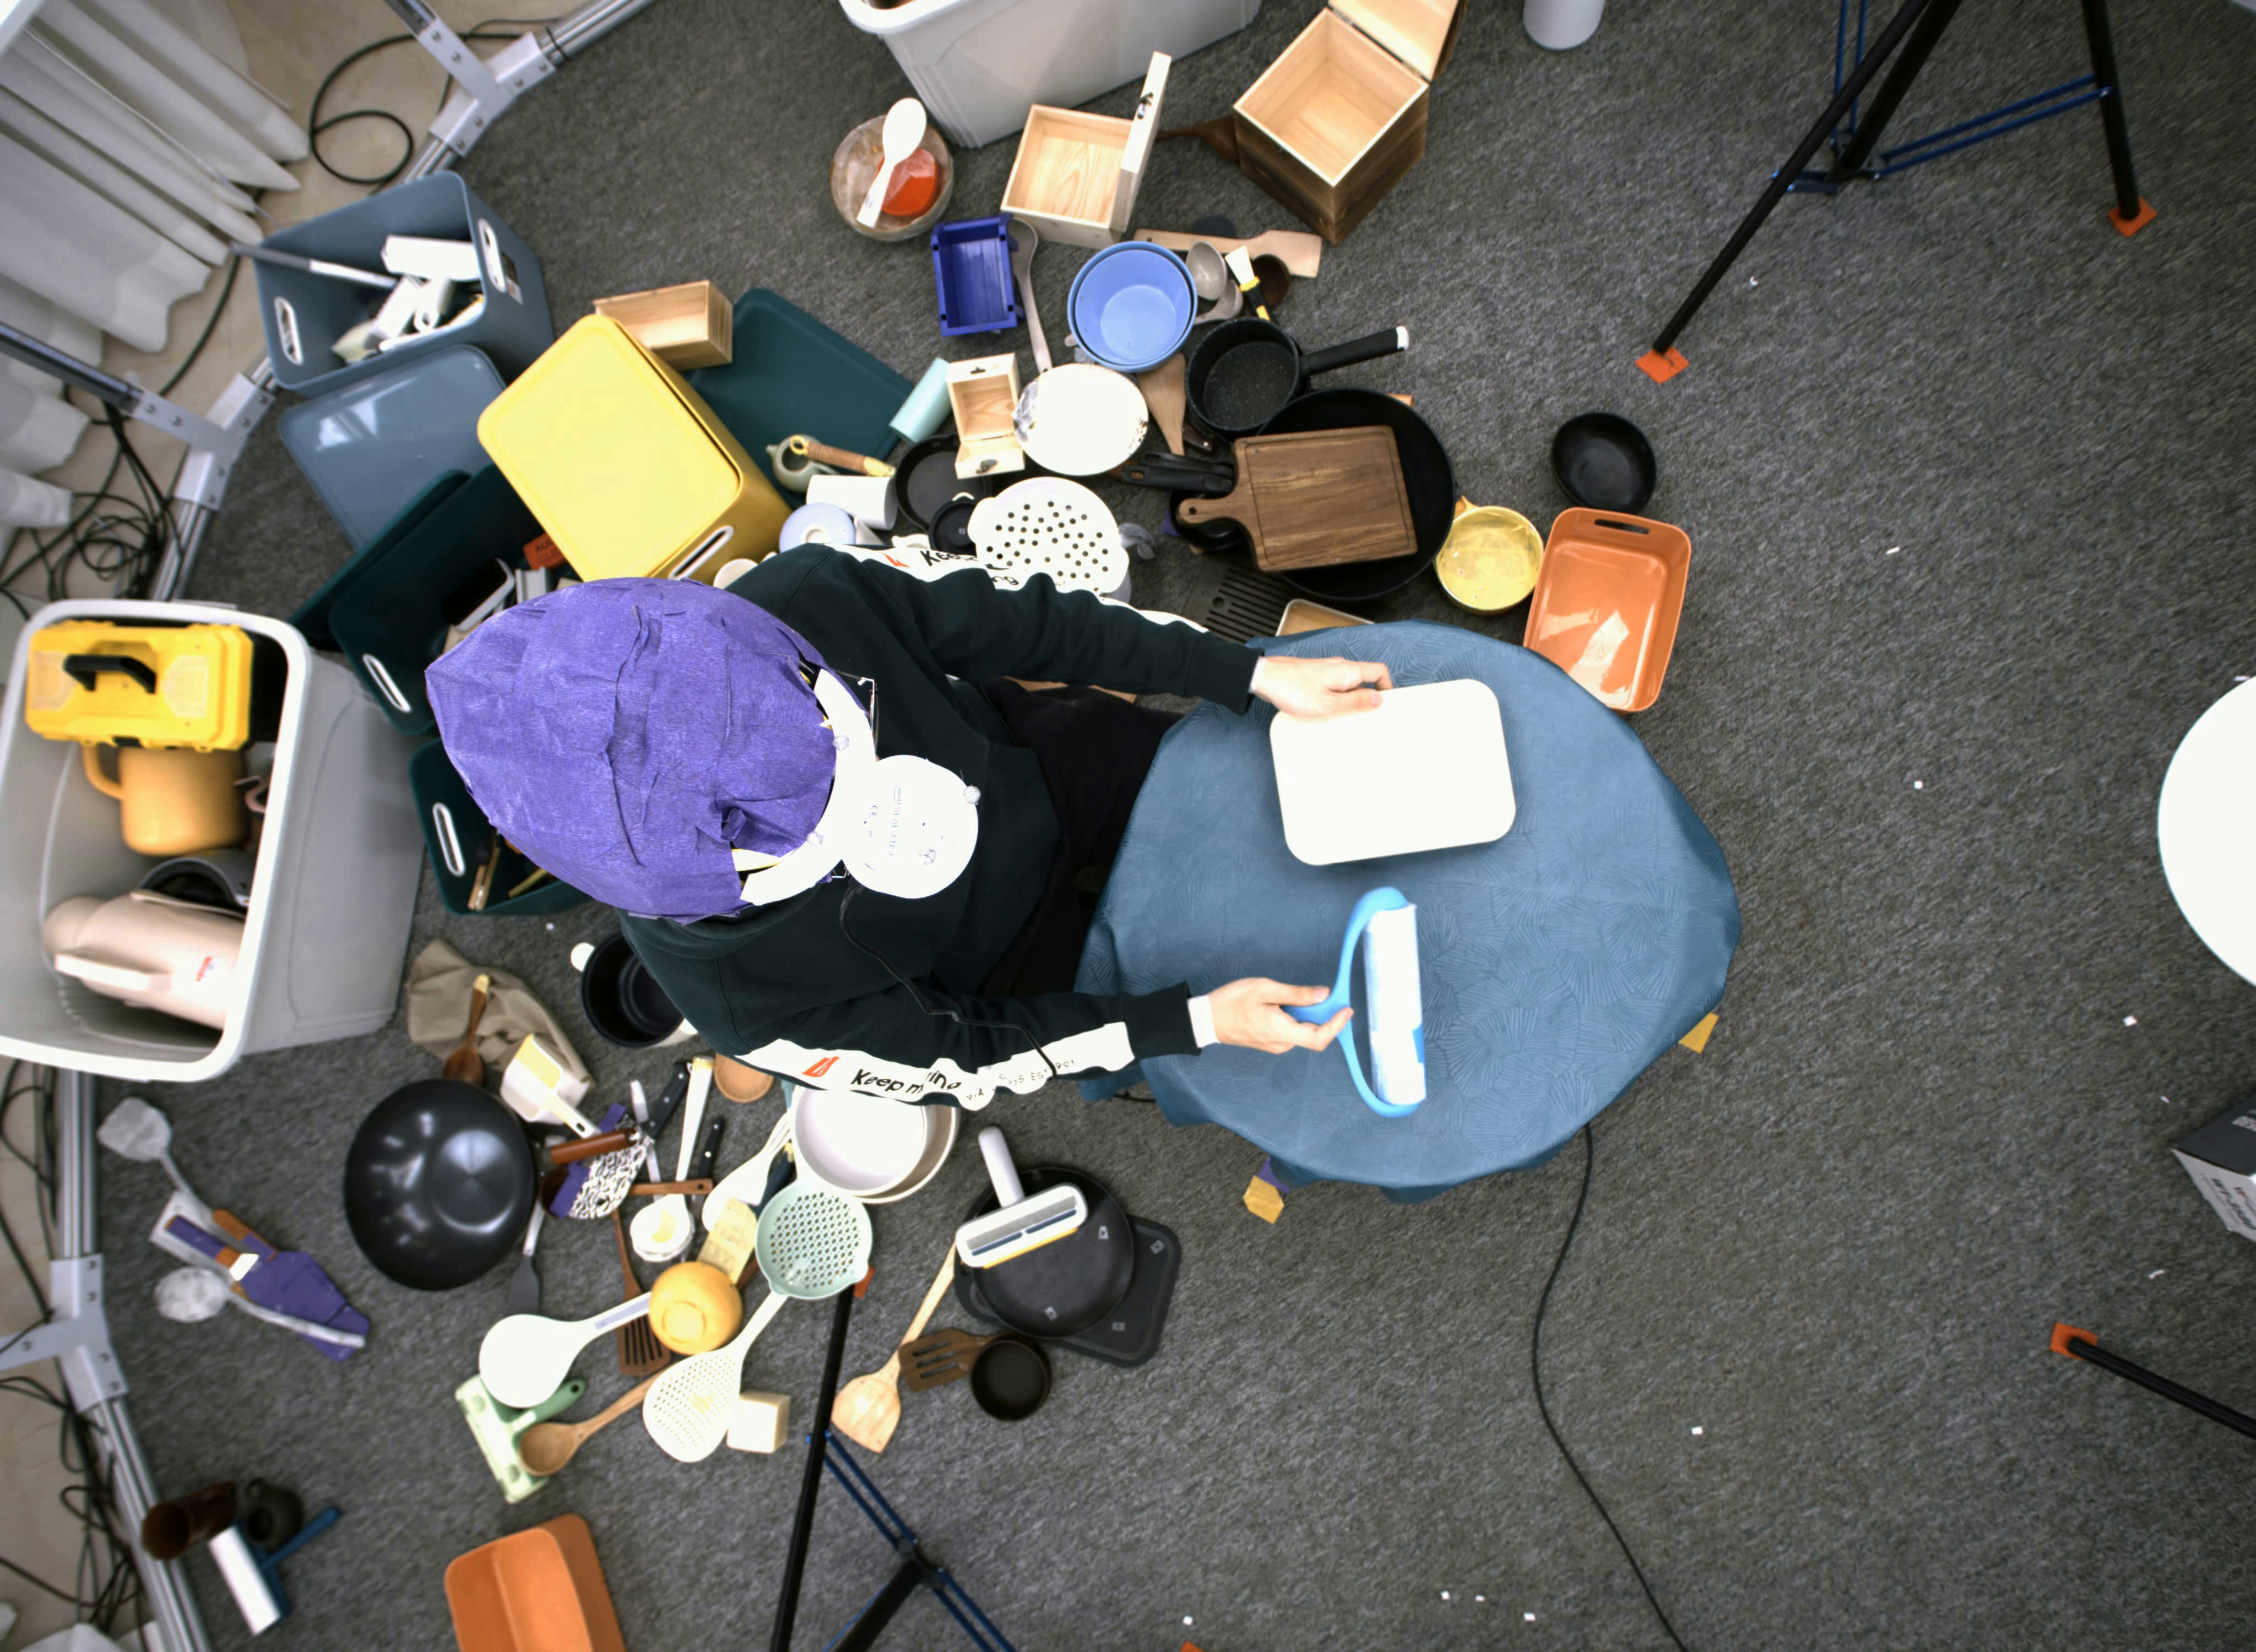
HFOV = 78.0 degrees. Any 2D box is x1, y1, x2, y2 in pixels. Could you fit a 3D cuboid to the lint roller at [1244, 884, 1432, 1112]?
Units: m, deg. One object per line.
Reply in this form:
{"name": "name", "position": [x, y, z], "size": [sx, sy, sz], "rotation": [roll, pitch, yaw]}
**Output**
{"name": "lint roller", "position": [0.203, 0.177, 1.364], "size": [0.181, 0.067, 0.231], "rotation": [-8, 101, 8]}

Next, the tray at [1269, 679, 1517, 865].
{"name": "tray", "position": [0.270, -0.057, 1.408], "size": [0.240, 0.017, 0.170], "rotation": [-8, 85, 0]}
